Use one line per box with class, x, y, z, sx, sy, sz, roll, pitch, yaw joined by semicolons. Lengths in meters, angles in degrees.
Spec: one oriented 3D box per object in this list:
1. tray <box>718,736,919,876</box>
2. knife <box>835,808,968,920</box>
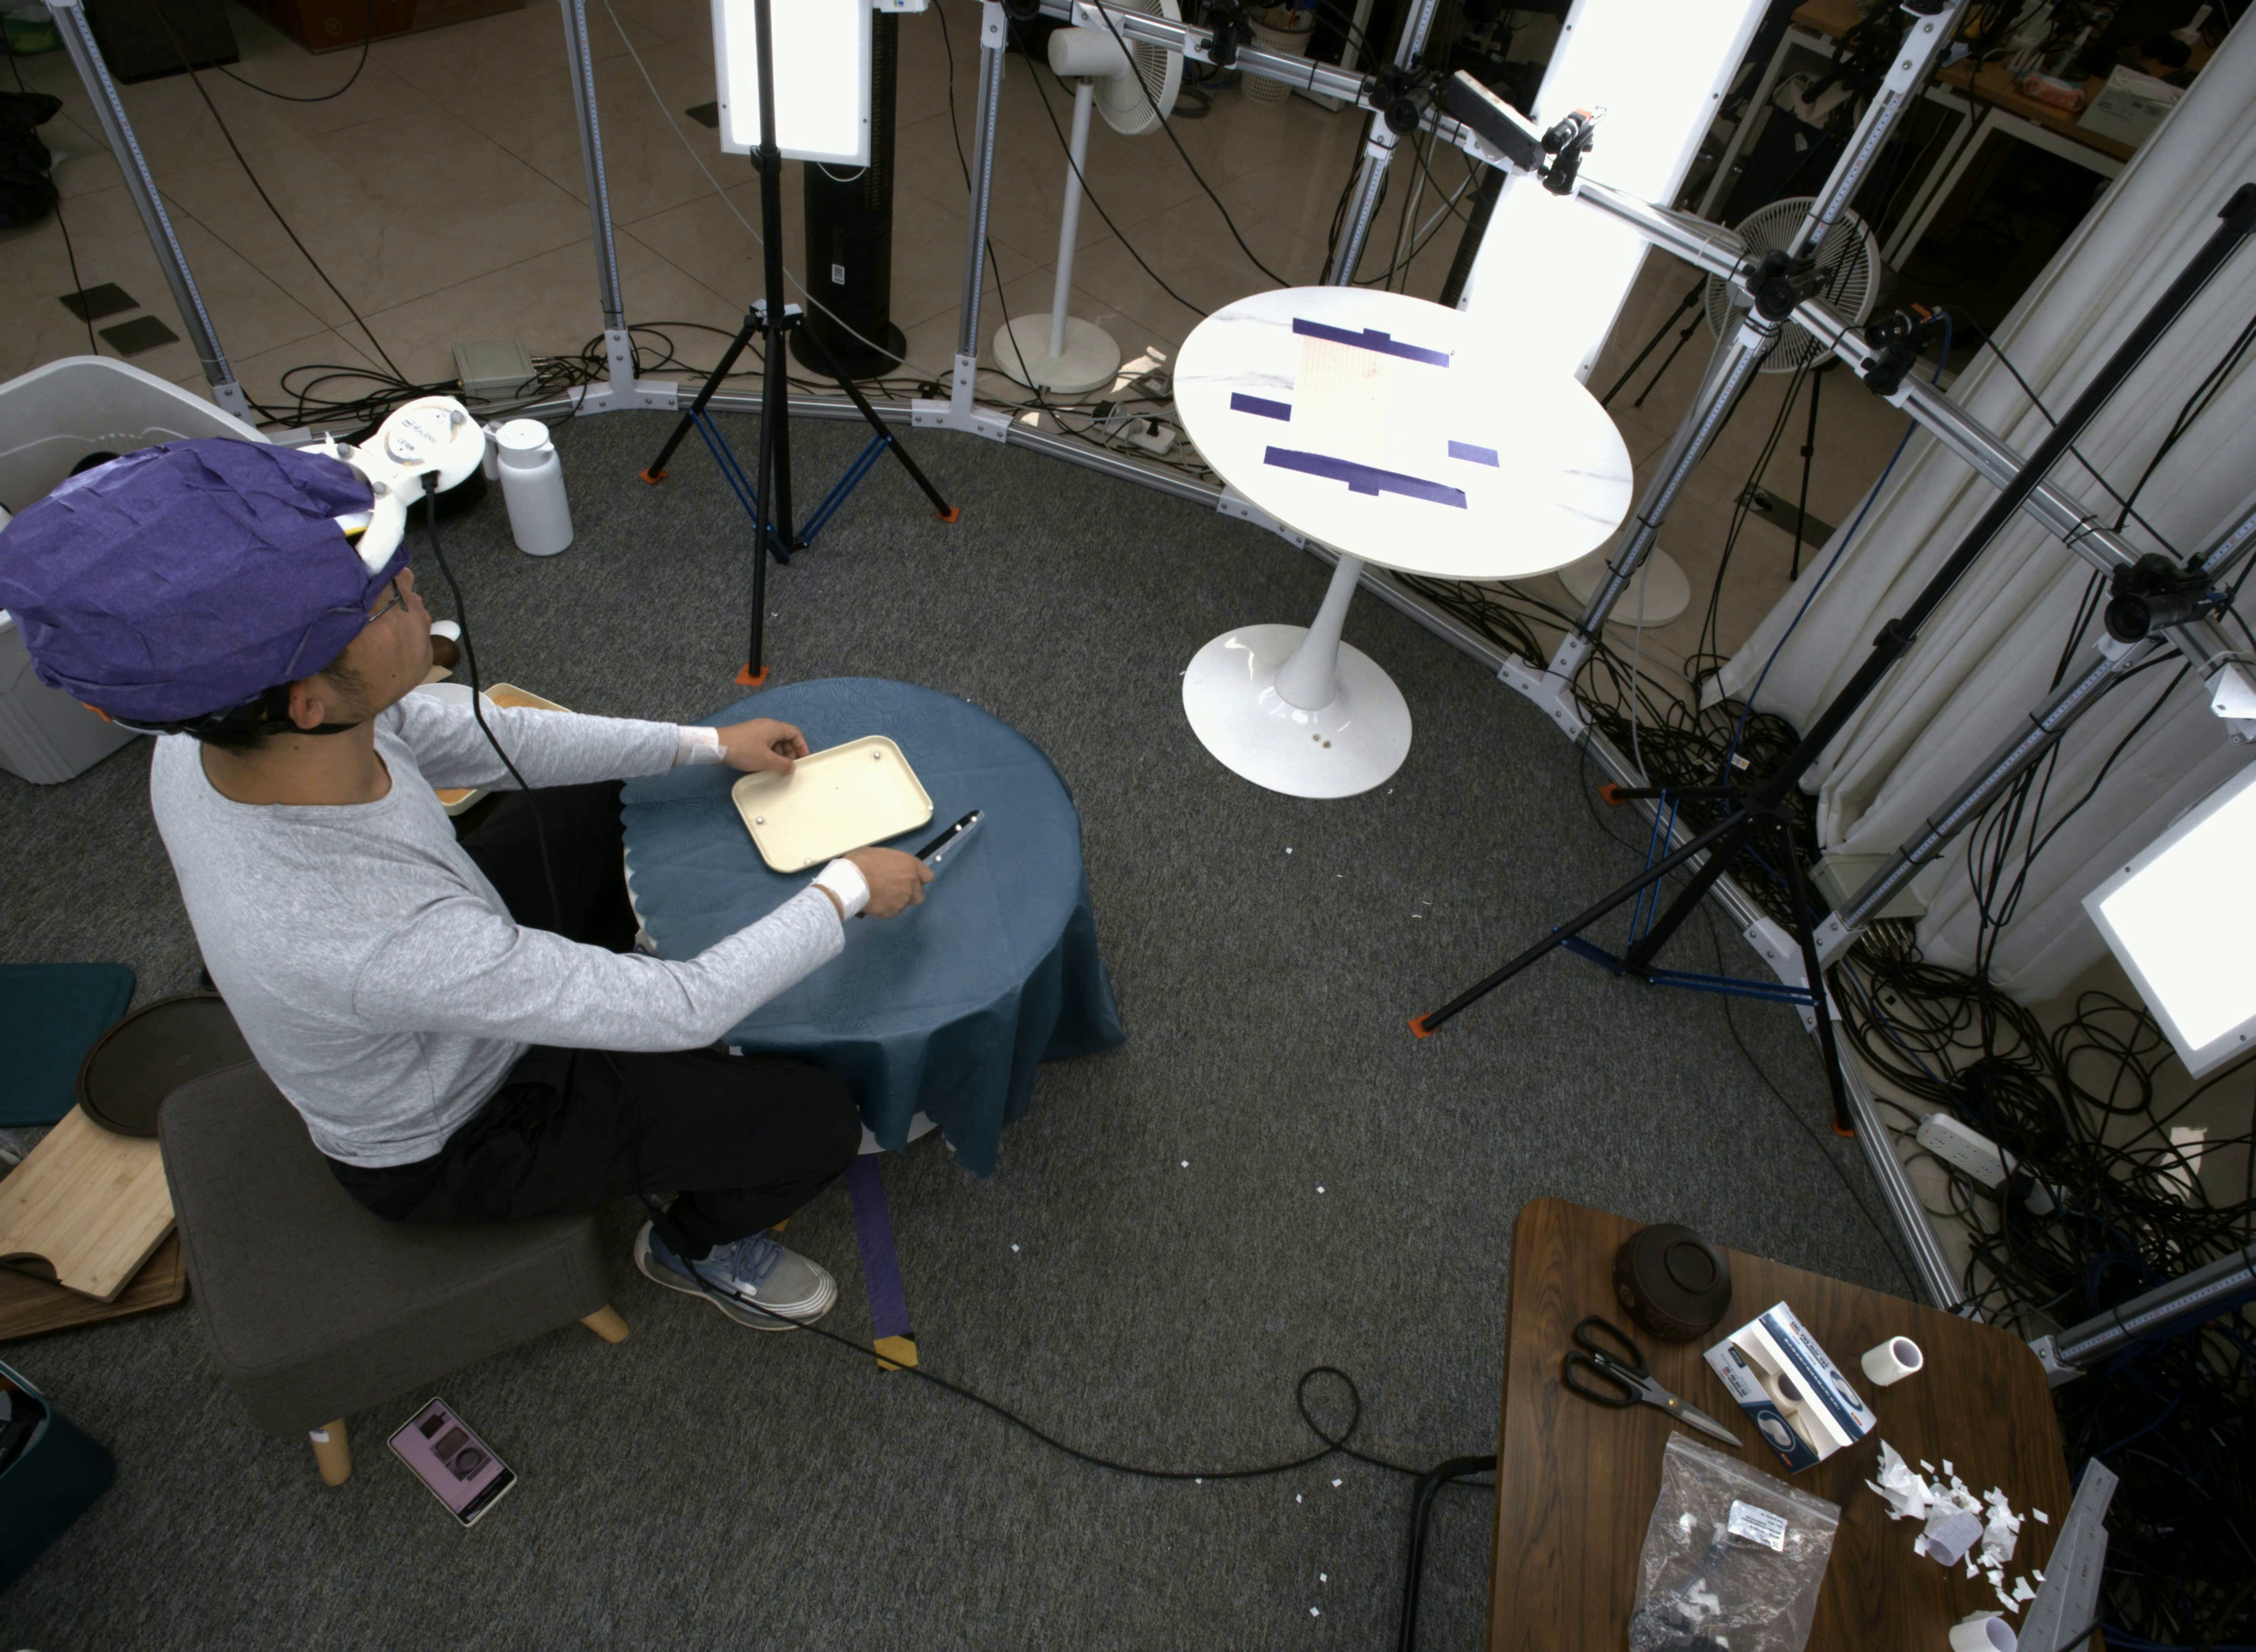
tray;-0.415;-0.029;1.747;0.241;0.018;0.167;-22;62;-27
knife;-0.282;0.042;1.670;0.019;0.051;0.289;29;36;13
